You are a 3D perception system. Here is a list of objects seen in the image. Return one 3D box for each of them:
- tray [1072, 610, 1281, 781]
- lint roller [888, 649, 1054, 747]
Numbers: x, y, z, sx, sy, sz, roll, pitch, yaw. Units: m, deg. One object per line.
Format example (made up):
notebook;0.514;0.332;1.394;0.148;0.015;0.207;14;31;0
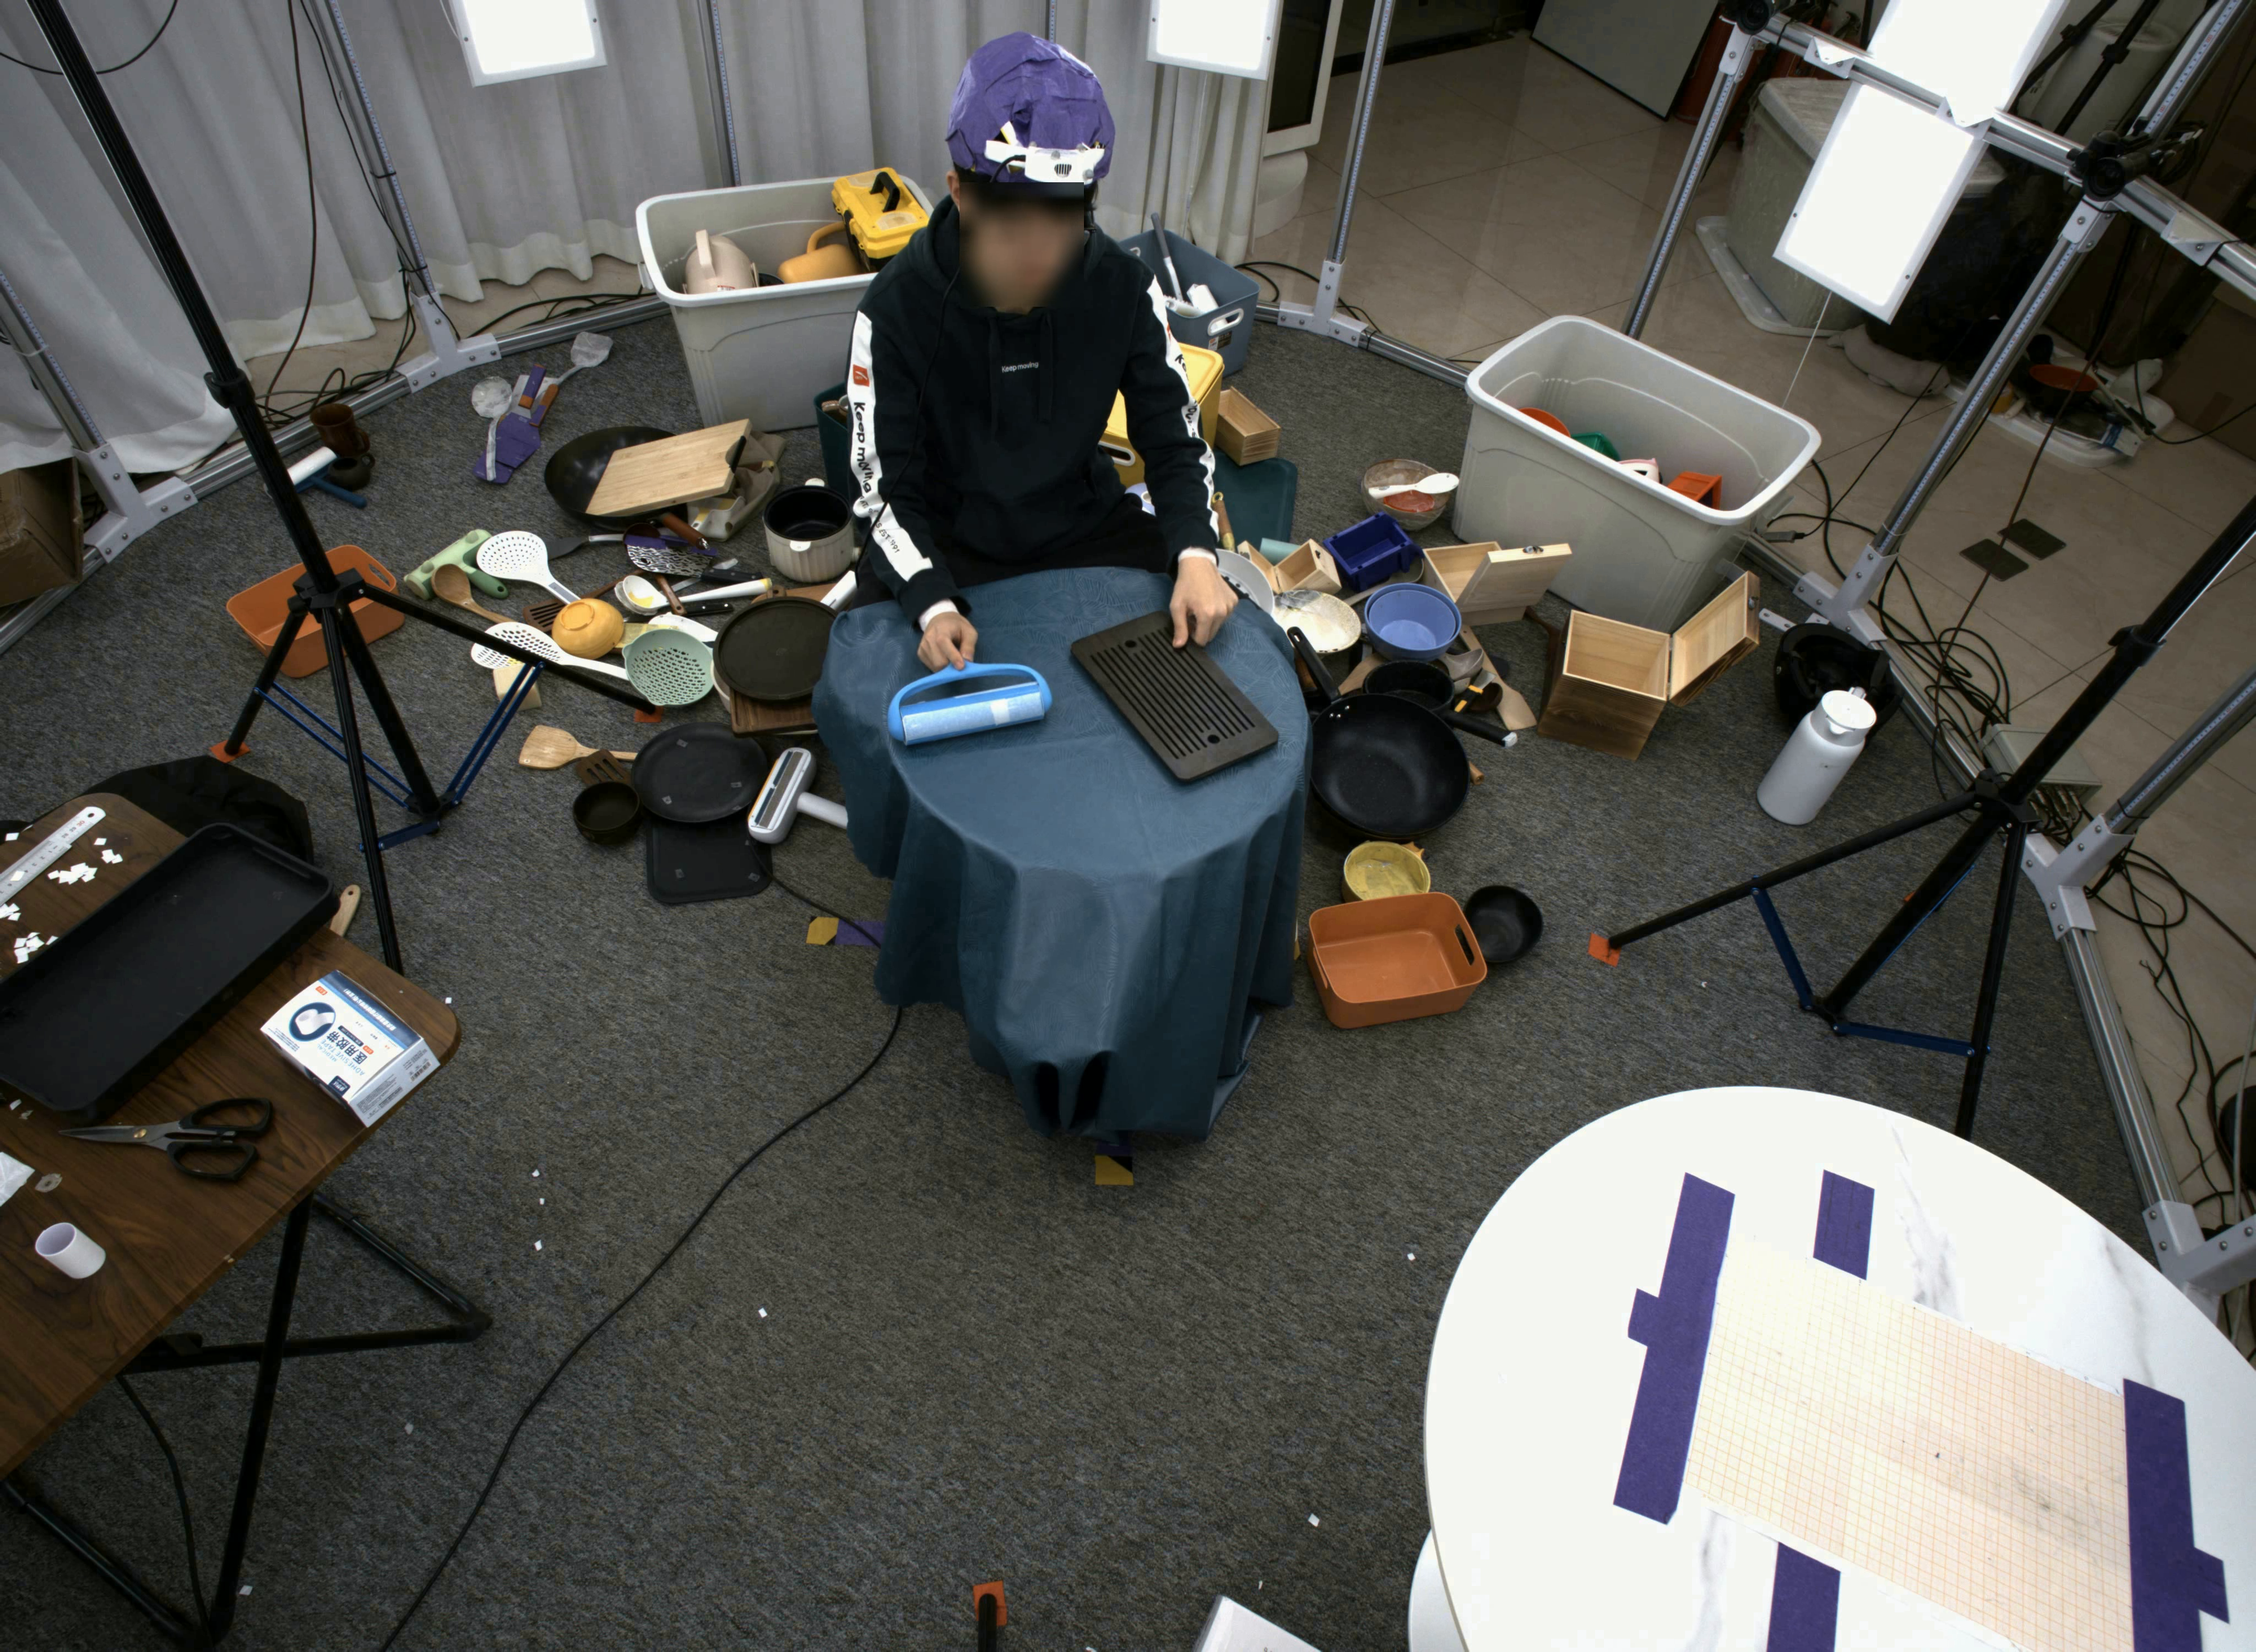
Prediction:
tray;0.064;-0.190;1.825;0.171;0.018;0.312;-24;54;-22
lint roller;-0.233;-0.199;1.788;0.229;0.066;0.184;-16;53;-14
